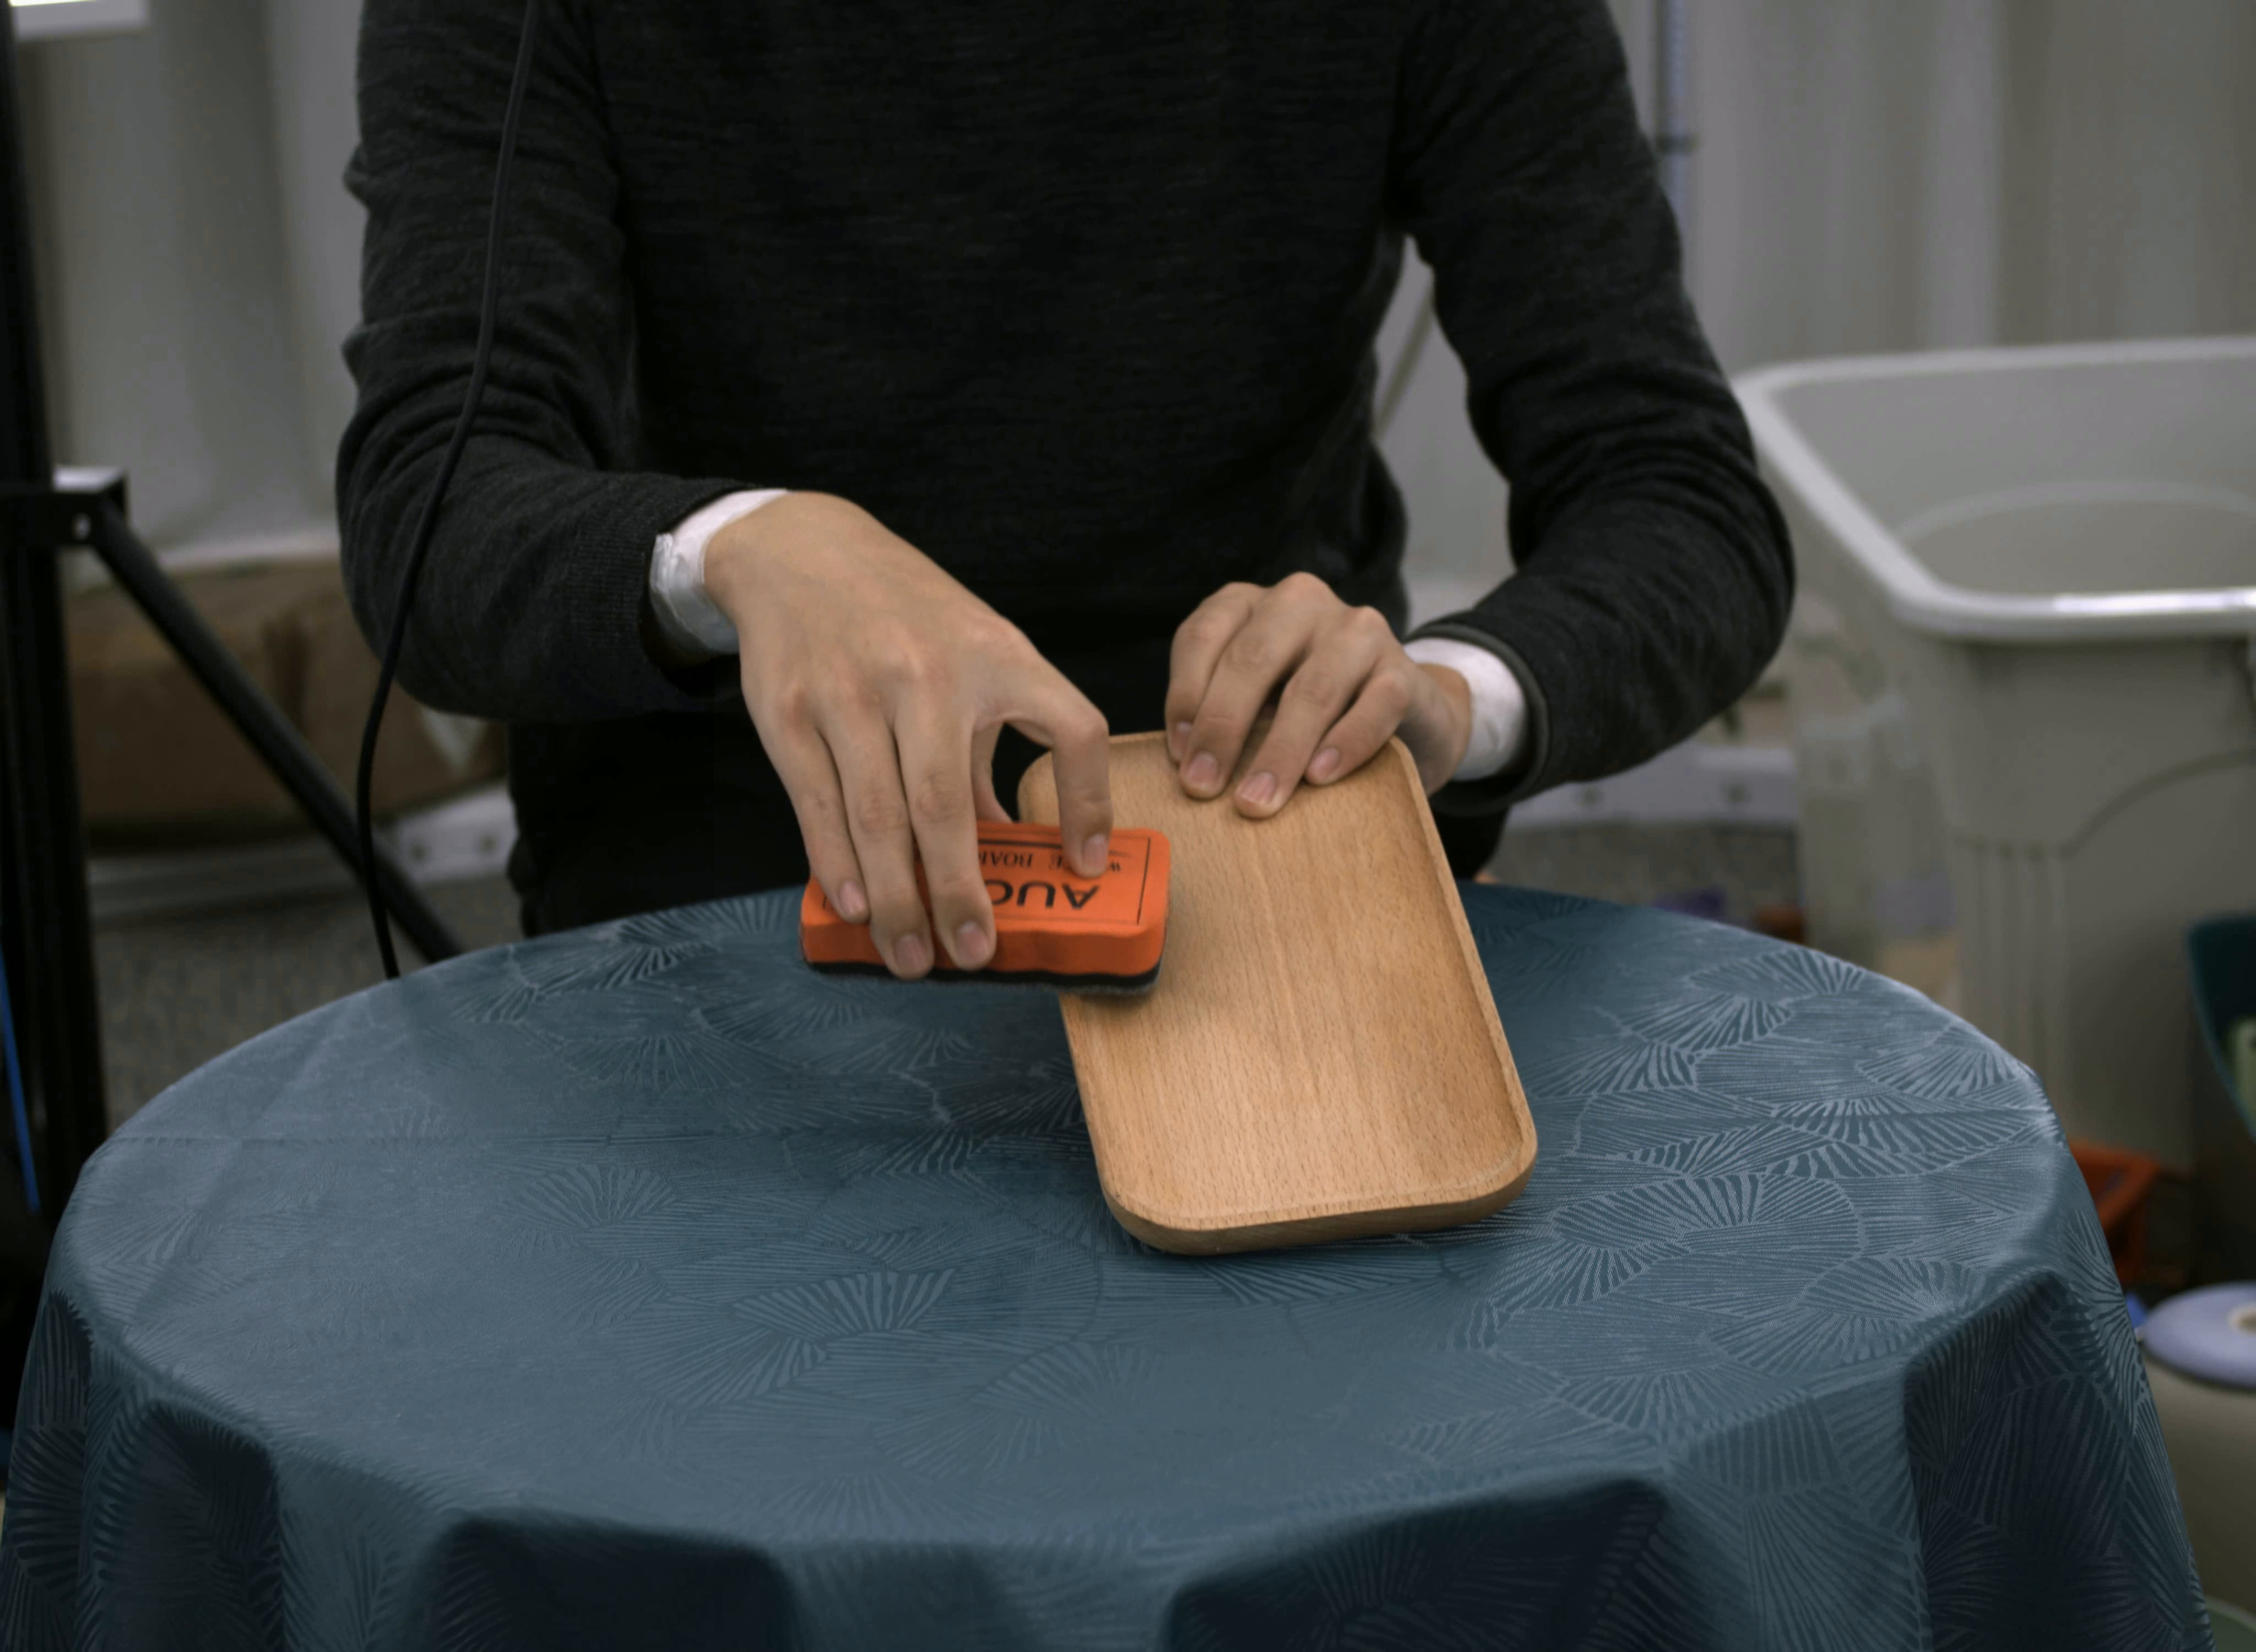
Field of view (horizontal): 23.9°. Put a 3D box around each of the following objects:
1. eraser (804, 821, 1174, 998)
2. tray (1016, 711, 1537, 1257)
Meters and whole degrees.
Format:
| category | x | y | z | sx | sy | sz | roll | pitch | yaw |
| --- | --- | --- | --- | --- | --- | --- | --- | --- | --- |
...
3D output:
| category | x | y | z | sx | sy | sz | roll | pitch | yaw |
| --- | --- | --- | --- | --- | --- | --- | --- | --- | --- |
| eraser | -0.041 | 0.025 | 1.604 | 0.108 | 0.023 | 0.059 | 3 | 31 | 8 |
| tray | 0.041 | 0.044 | 1.599 | 0.129 | 0.023 | 0.254 | -5 | 34 | -5 |
